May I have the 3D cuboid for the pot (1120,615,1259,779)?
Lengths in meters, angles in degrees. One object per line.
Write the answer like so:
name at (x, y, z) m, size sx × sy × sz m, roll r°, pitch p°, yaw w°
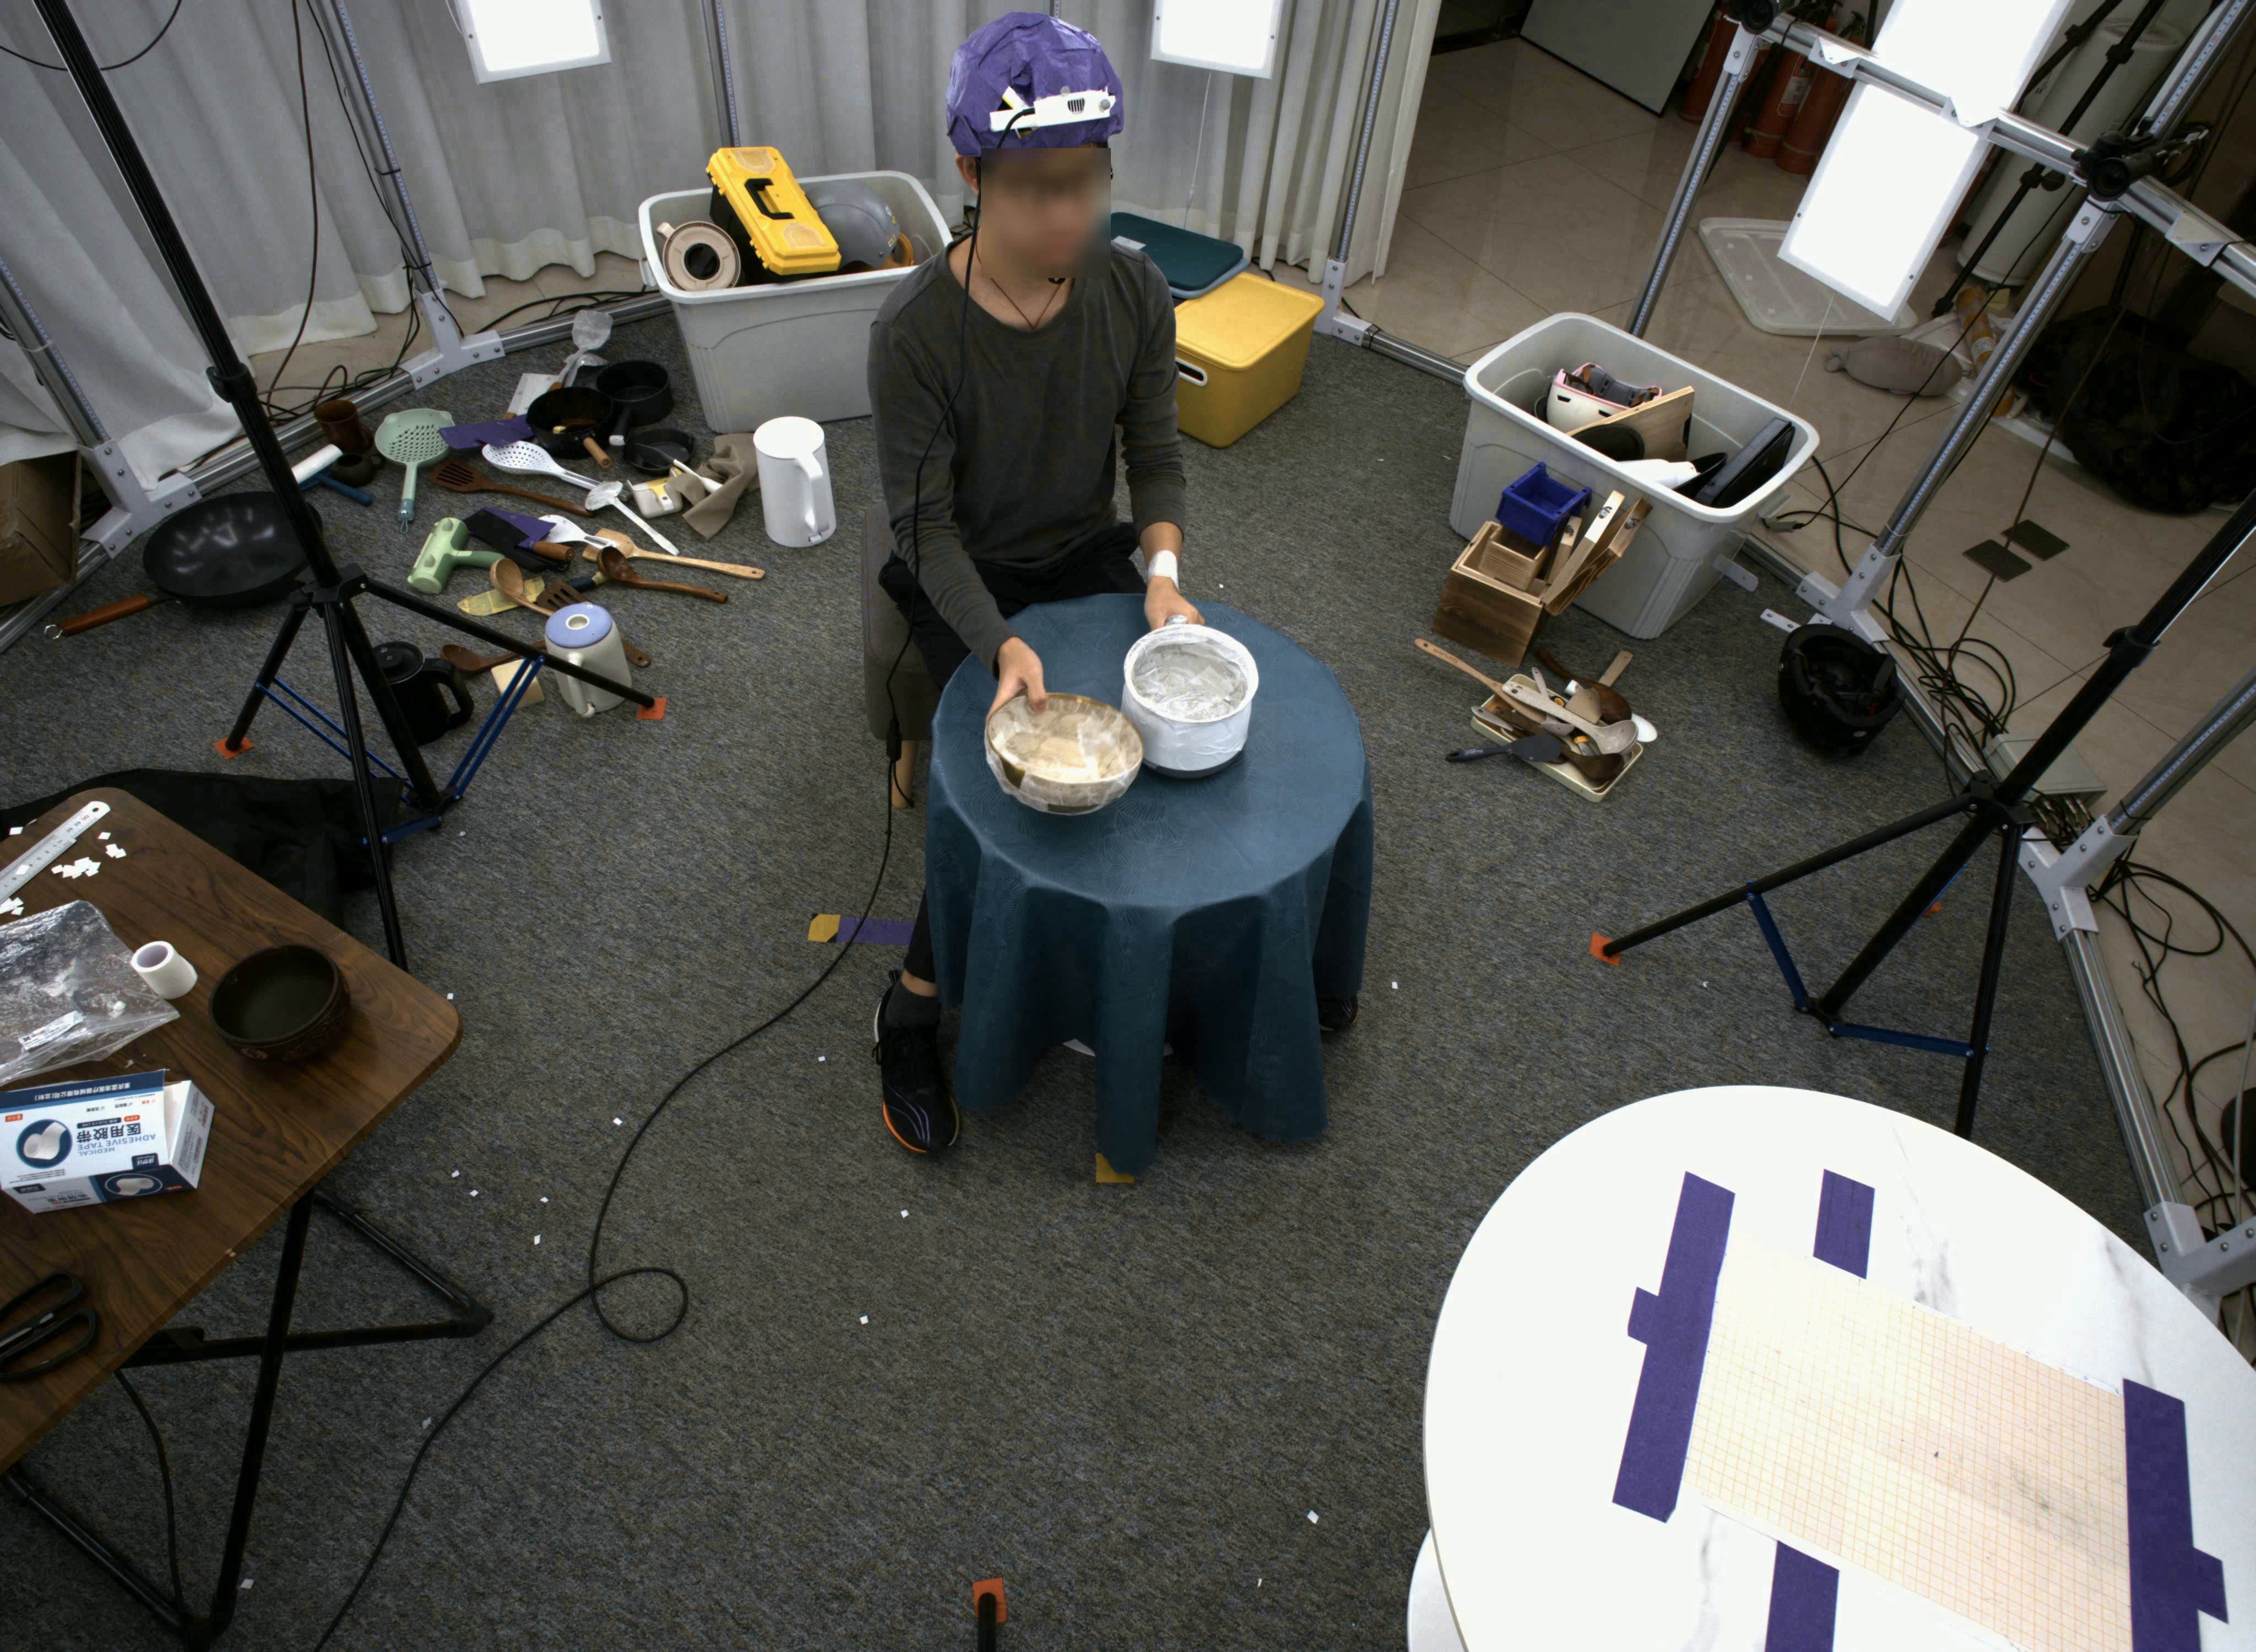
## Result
pot at (0.075, -0.185, 1.739) m, size 0.178 × 0.133 × 0.239 m, roll -4°, pitch 52°, yaw -8°

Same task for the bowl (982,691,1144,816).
bowl at (-0.087, -0.078, 1.620) m, size 0.214 × 0.092 × 0.220 m, roll 7°, pitch 34°, yaw -5°
